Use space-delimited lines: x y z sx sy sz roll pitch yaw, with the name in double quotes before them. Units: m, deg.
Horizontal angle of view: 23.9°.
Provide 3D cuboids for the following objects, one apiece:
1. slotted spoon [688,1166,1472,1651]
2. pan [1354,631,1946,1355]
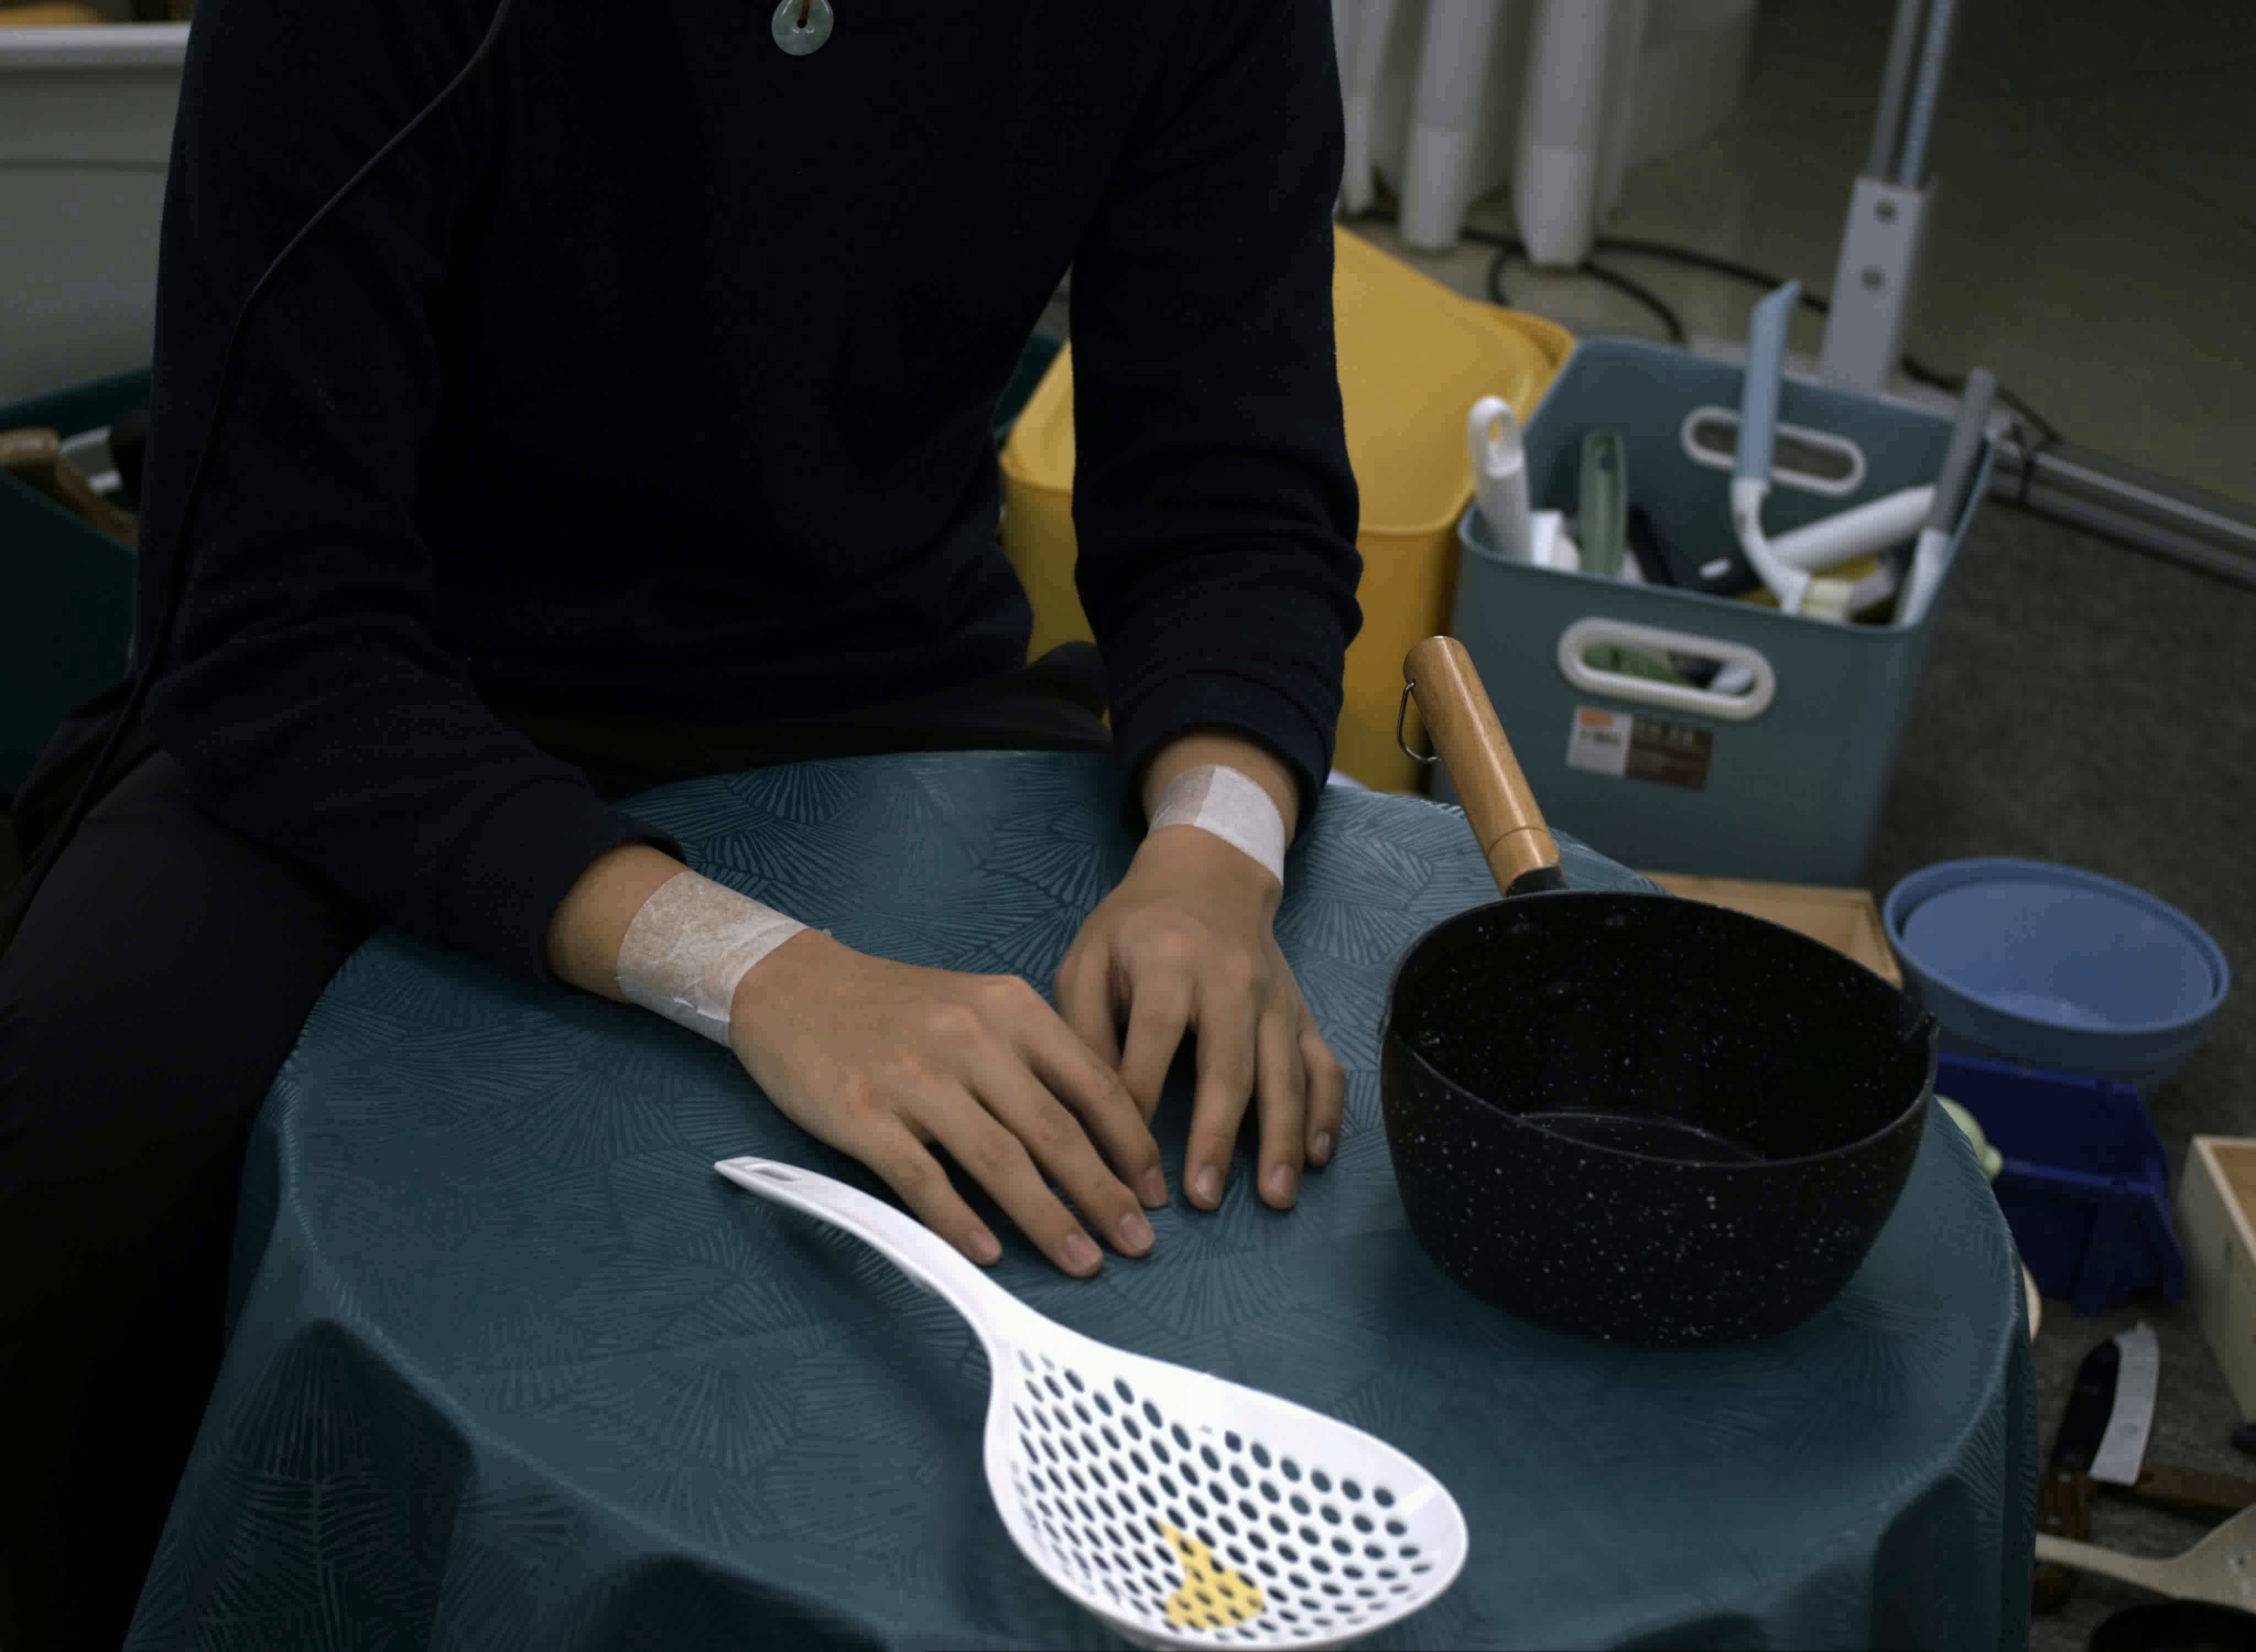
"slotted spoon" -0.033 0.172 1.654 0.136 0.050 0.351 -14 35 -33
"pan" 0.152 0.055 1.853 0.206 0.108 0.346 -3 30 -17
